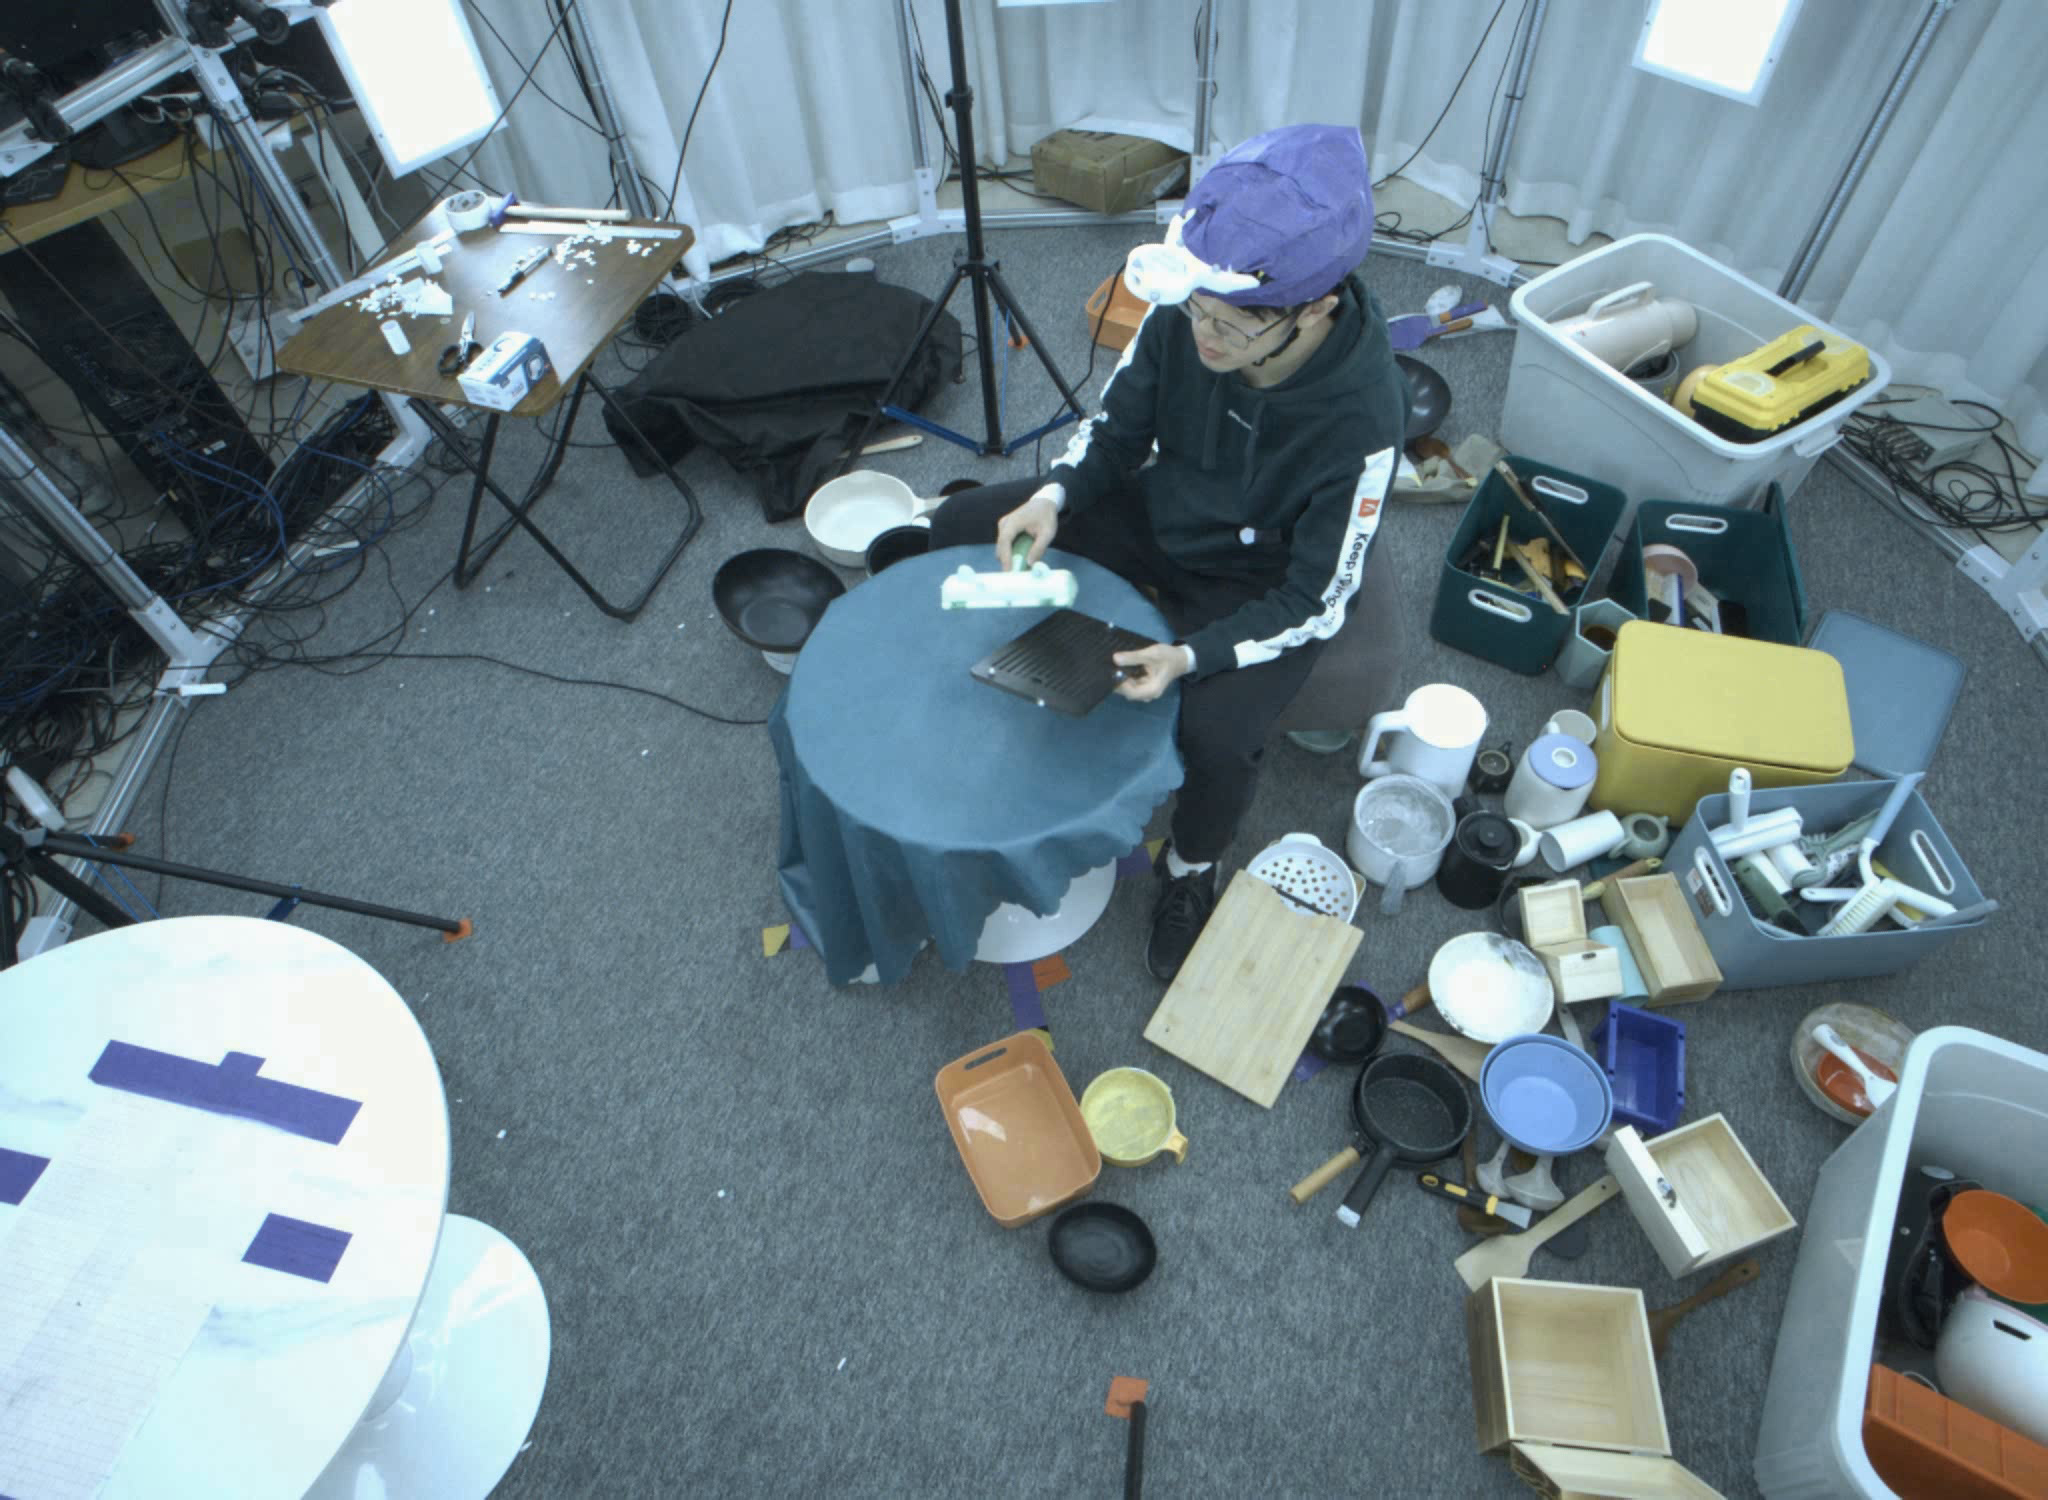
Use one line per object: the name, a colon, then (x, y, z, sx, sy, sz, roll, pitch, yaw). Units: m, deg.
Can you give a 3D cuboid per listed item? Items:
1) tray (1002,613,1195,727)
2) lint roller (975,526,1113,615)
tray: (0.109, -0.115, 1.708, 0.168, 0.019, 0.309, 24, 31, 18)
lint roller: (0.037, -0.274, 1.793, 0.196, 0.084, 0.182, 3, 61, 20)
